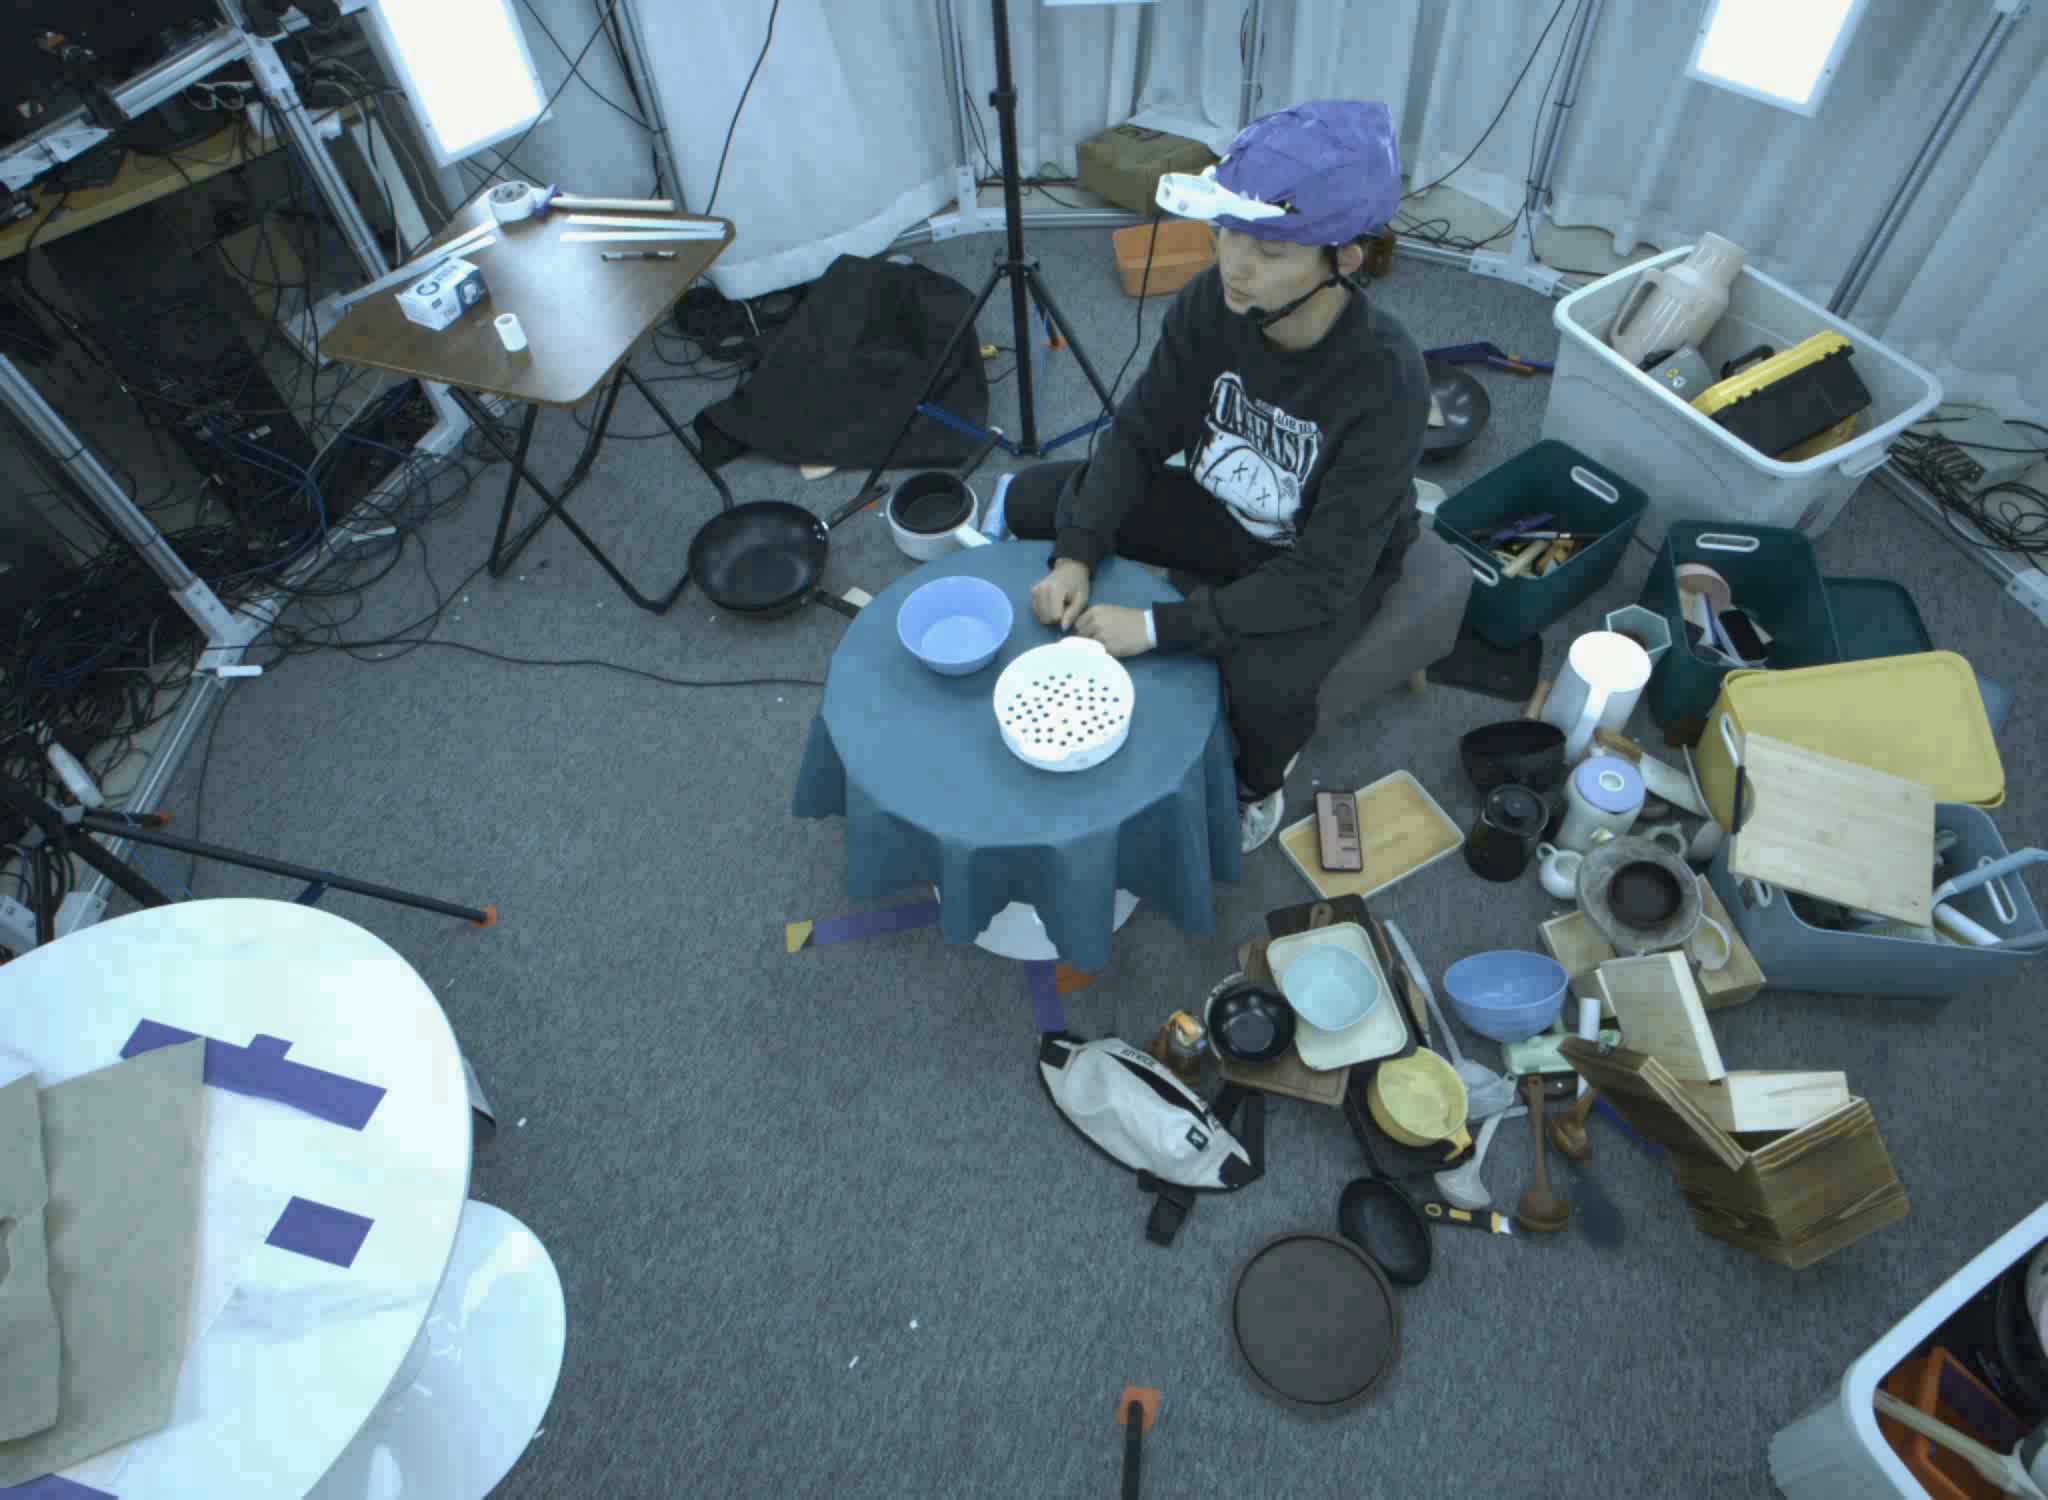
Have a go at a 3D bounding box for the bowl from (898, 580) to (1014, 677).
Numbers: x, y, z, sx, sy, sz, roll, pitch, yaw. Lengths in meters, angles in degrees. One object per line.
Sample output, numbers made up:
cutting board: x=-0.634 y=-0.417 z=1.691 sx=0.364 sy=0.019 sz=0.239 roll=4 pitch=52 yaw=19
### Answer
bowl: x=-0.102 y=-0.177 z=1.881 sx=0.176 sy=0.071 sz=0.174 roll=0 pitch=55 yaw=1

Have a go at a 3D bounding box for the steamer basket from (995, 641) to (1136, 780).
steamer basket: x=0.061 y=-0.051 z=1.790 sx=0.200 sy=0.070 sz=0.230 roll=12 pitch=59 yaw=11
